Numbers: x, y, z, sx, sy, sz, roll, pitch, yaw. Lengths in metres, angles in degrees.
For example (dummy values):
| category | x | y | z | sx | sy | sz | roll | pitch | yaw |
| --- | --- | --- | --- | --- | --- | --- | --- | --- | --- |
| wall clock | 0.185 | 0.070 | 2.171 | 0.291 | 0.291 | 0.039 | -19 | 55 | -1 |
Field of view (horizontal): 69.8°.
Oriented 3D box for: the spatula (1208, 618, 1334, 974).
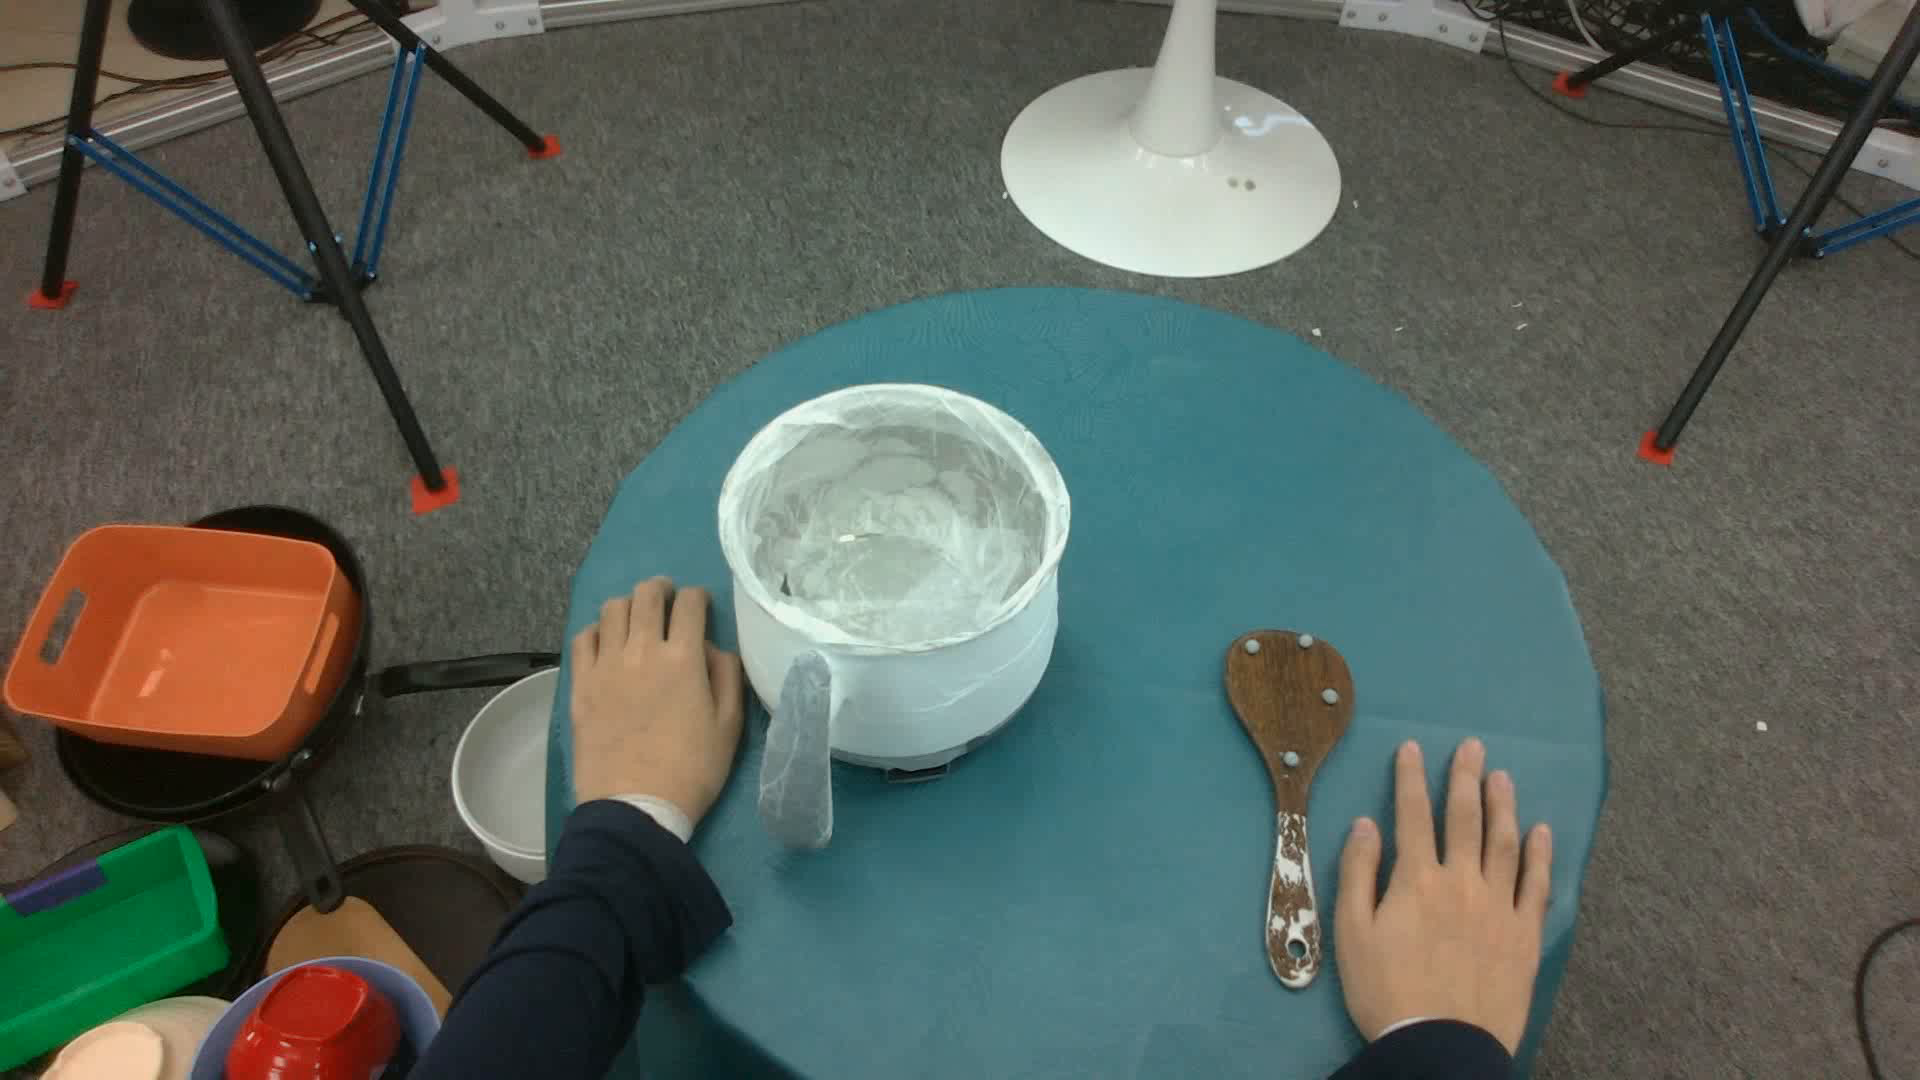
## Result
| category | x | y | z | sx | sy | sz | roll | pitch | yaw |
| --- | --- | --- | --- | --- | --- | --- | --- | --- | --- |
| spatula | 0.167 | 0.129 | 0.744 | 0.072 | 0.009 | 0.217 | 7 | 52 | 4 |

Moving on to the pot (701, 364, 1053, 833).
| category | x | y | z | sx | sy | sz | roll | pitch | yaw |
| --- | --- | --- | --- | --- | --- | --- | --- | --- | --- |
| pot | -0.051 | 0.033 | 0.722 | 0.178 | 0.136 | 0.235 | 14 | 51 | 12 |
